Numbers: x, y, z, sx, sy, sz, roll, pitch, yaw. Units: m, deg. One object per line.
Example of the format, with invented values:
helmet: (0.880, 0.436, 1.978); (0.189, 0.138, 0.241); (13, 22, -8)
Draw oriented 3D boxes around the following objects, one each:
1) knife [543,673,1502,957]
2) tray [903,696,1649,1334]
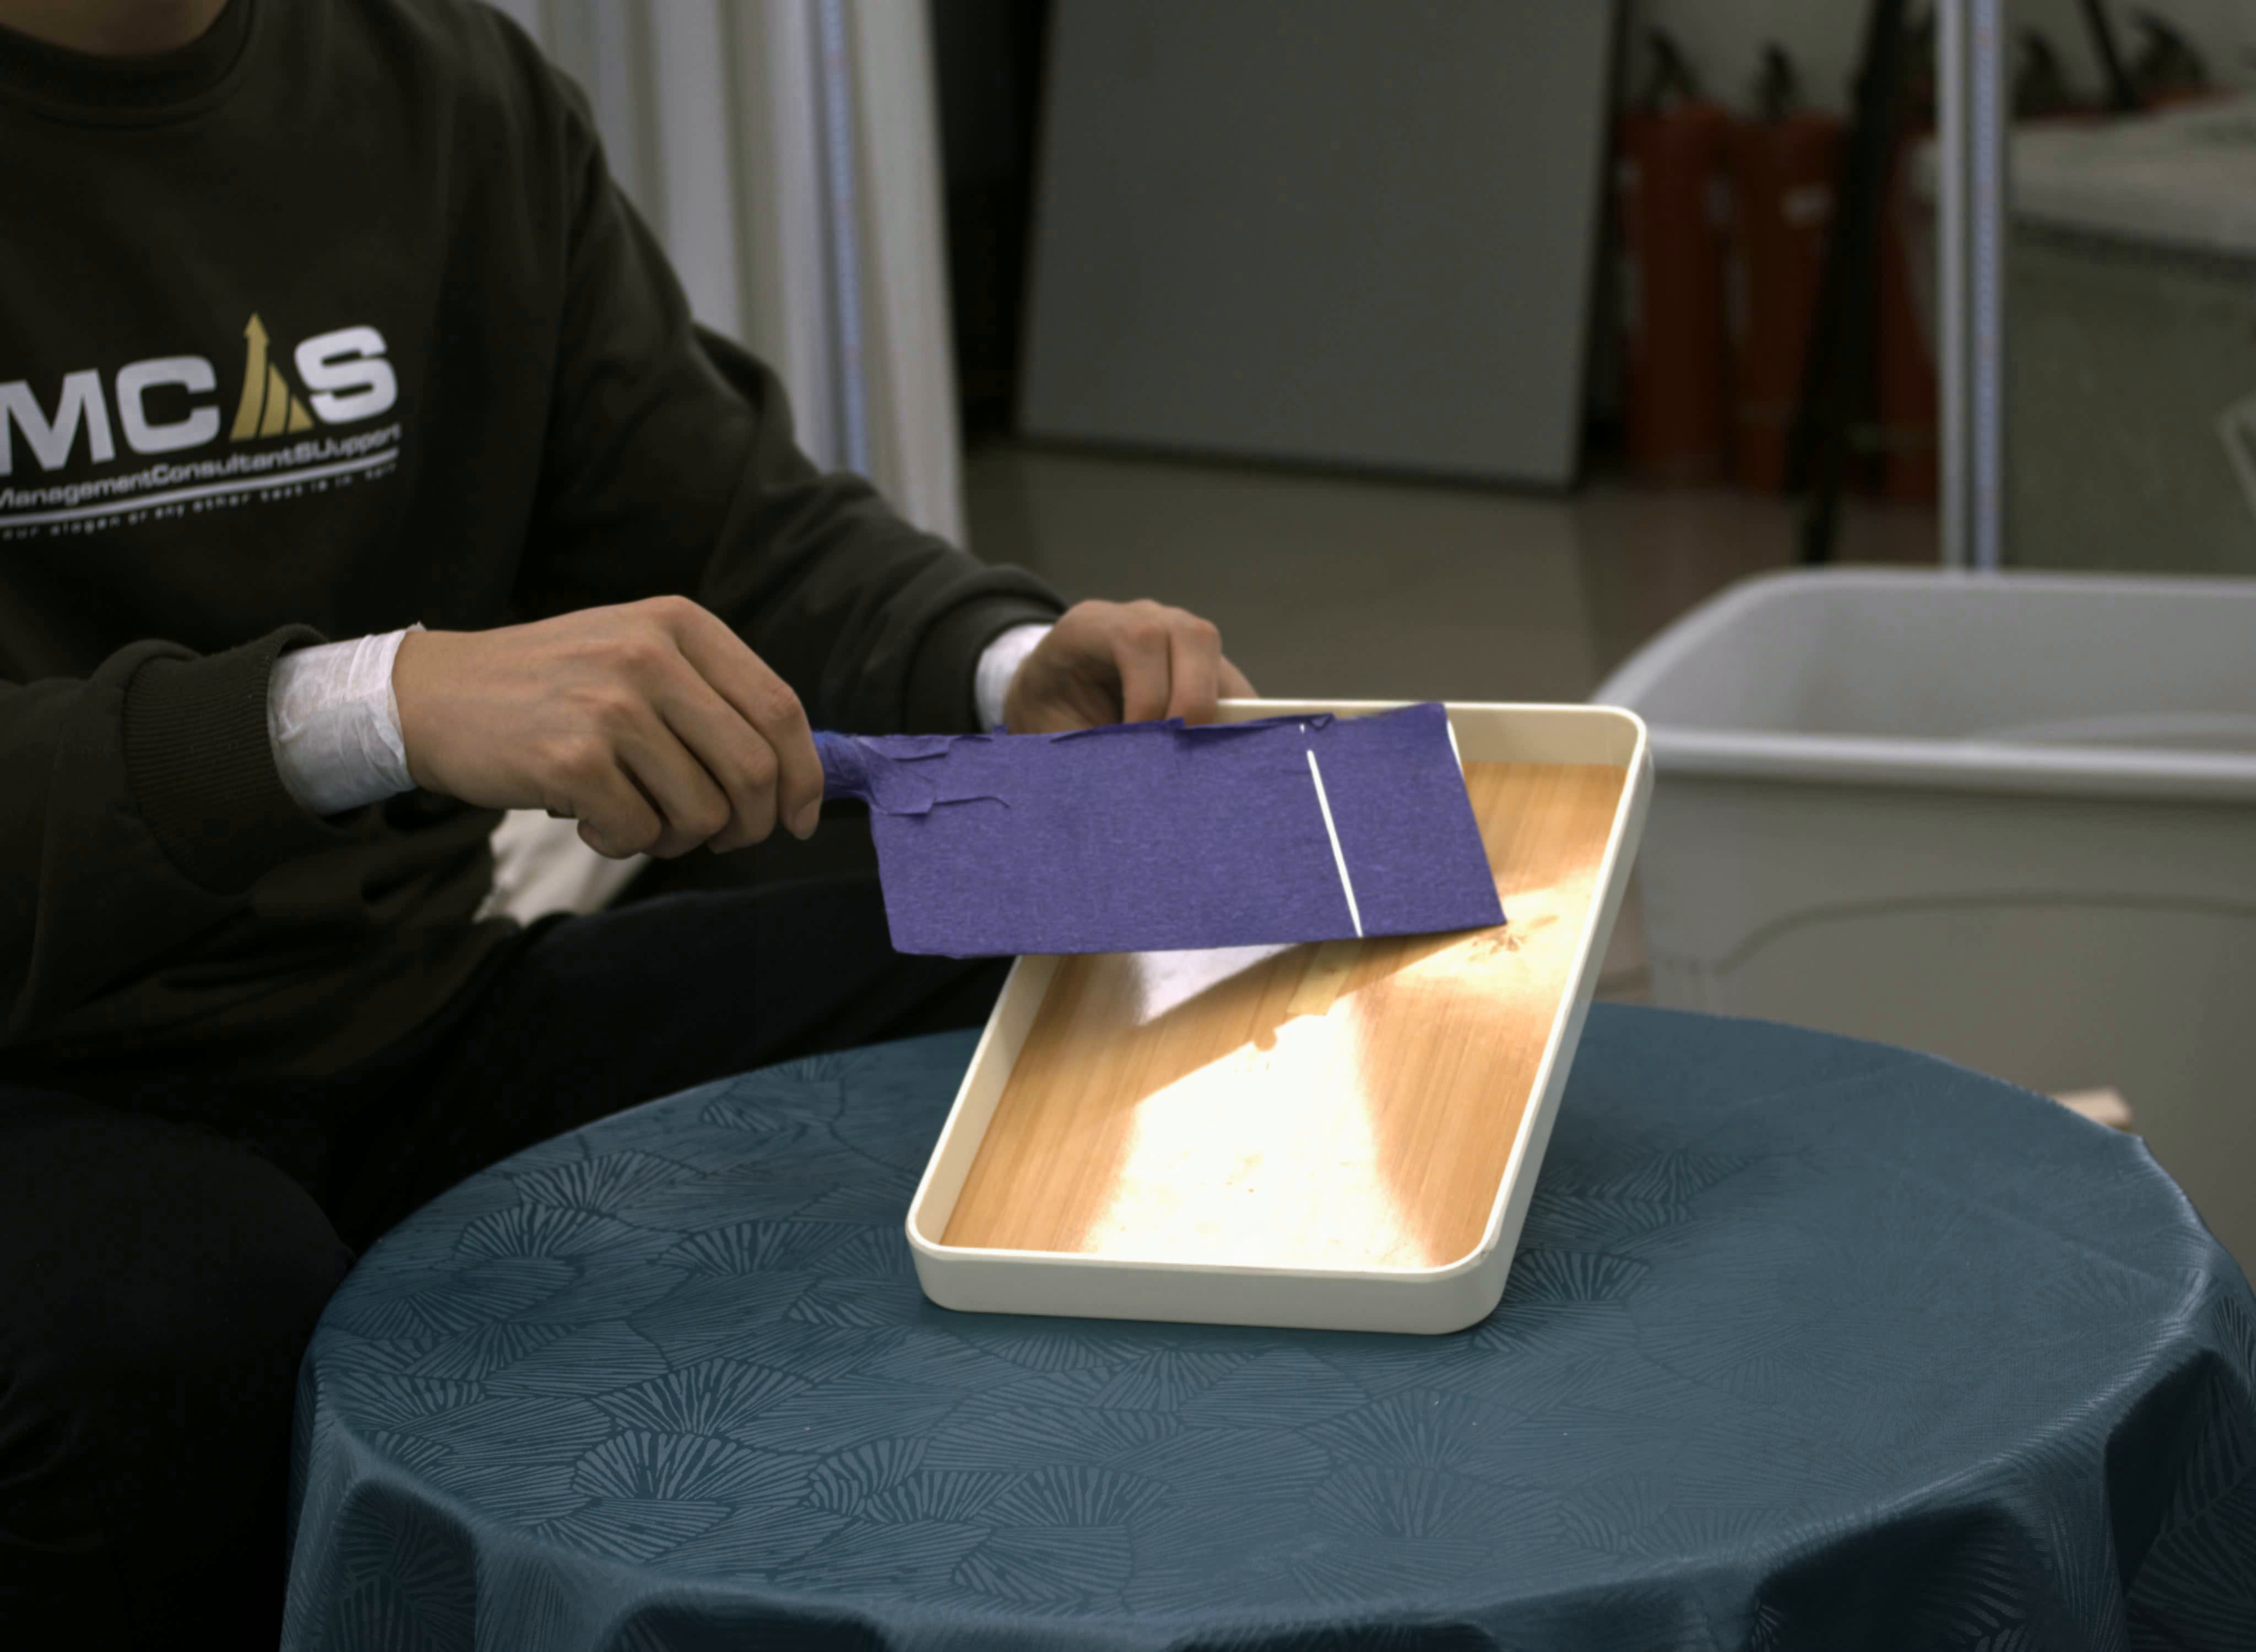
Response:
knife: (-0.032, 0.000, 1.768); (0.309, 0.032, 0.105); (-5, 52, -10)
tray: (0.054, 0.055, 1.748); (0.191, 0.027, 0.300); (0, 36, 19)
